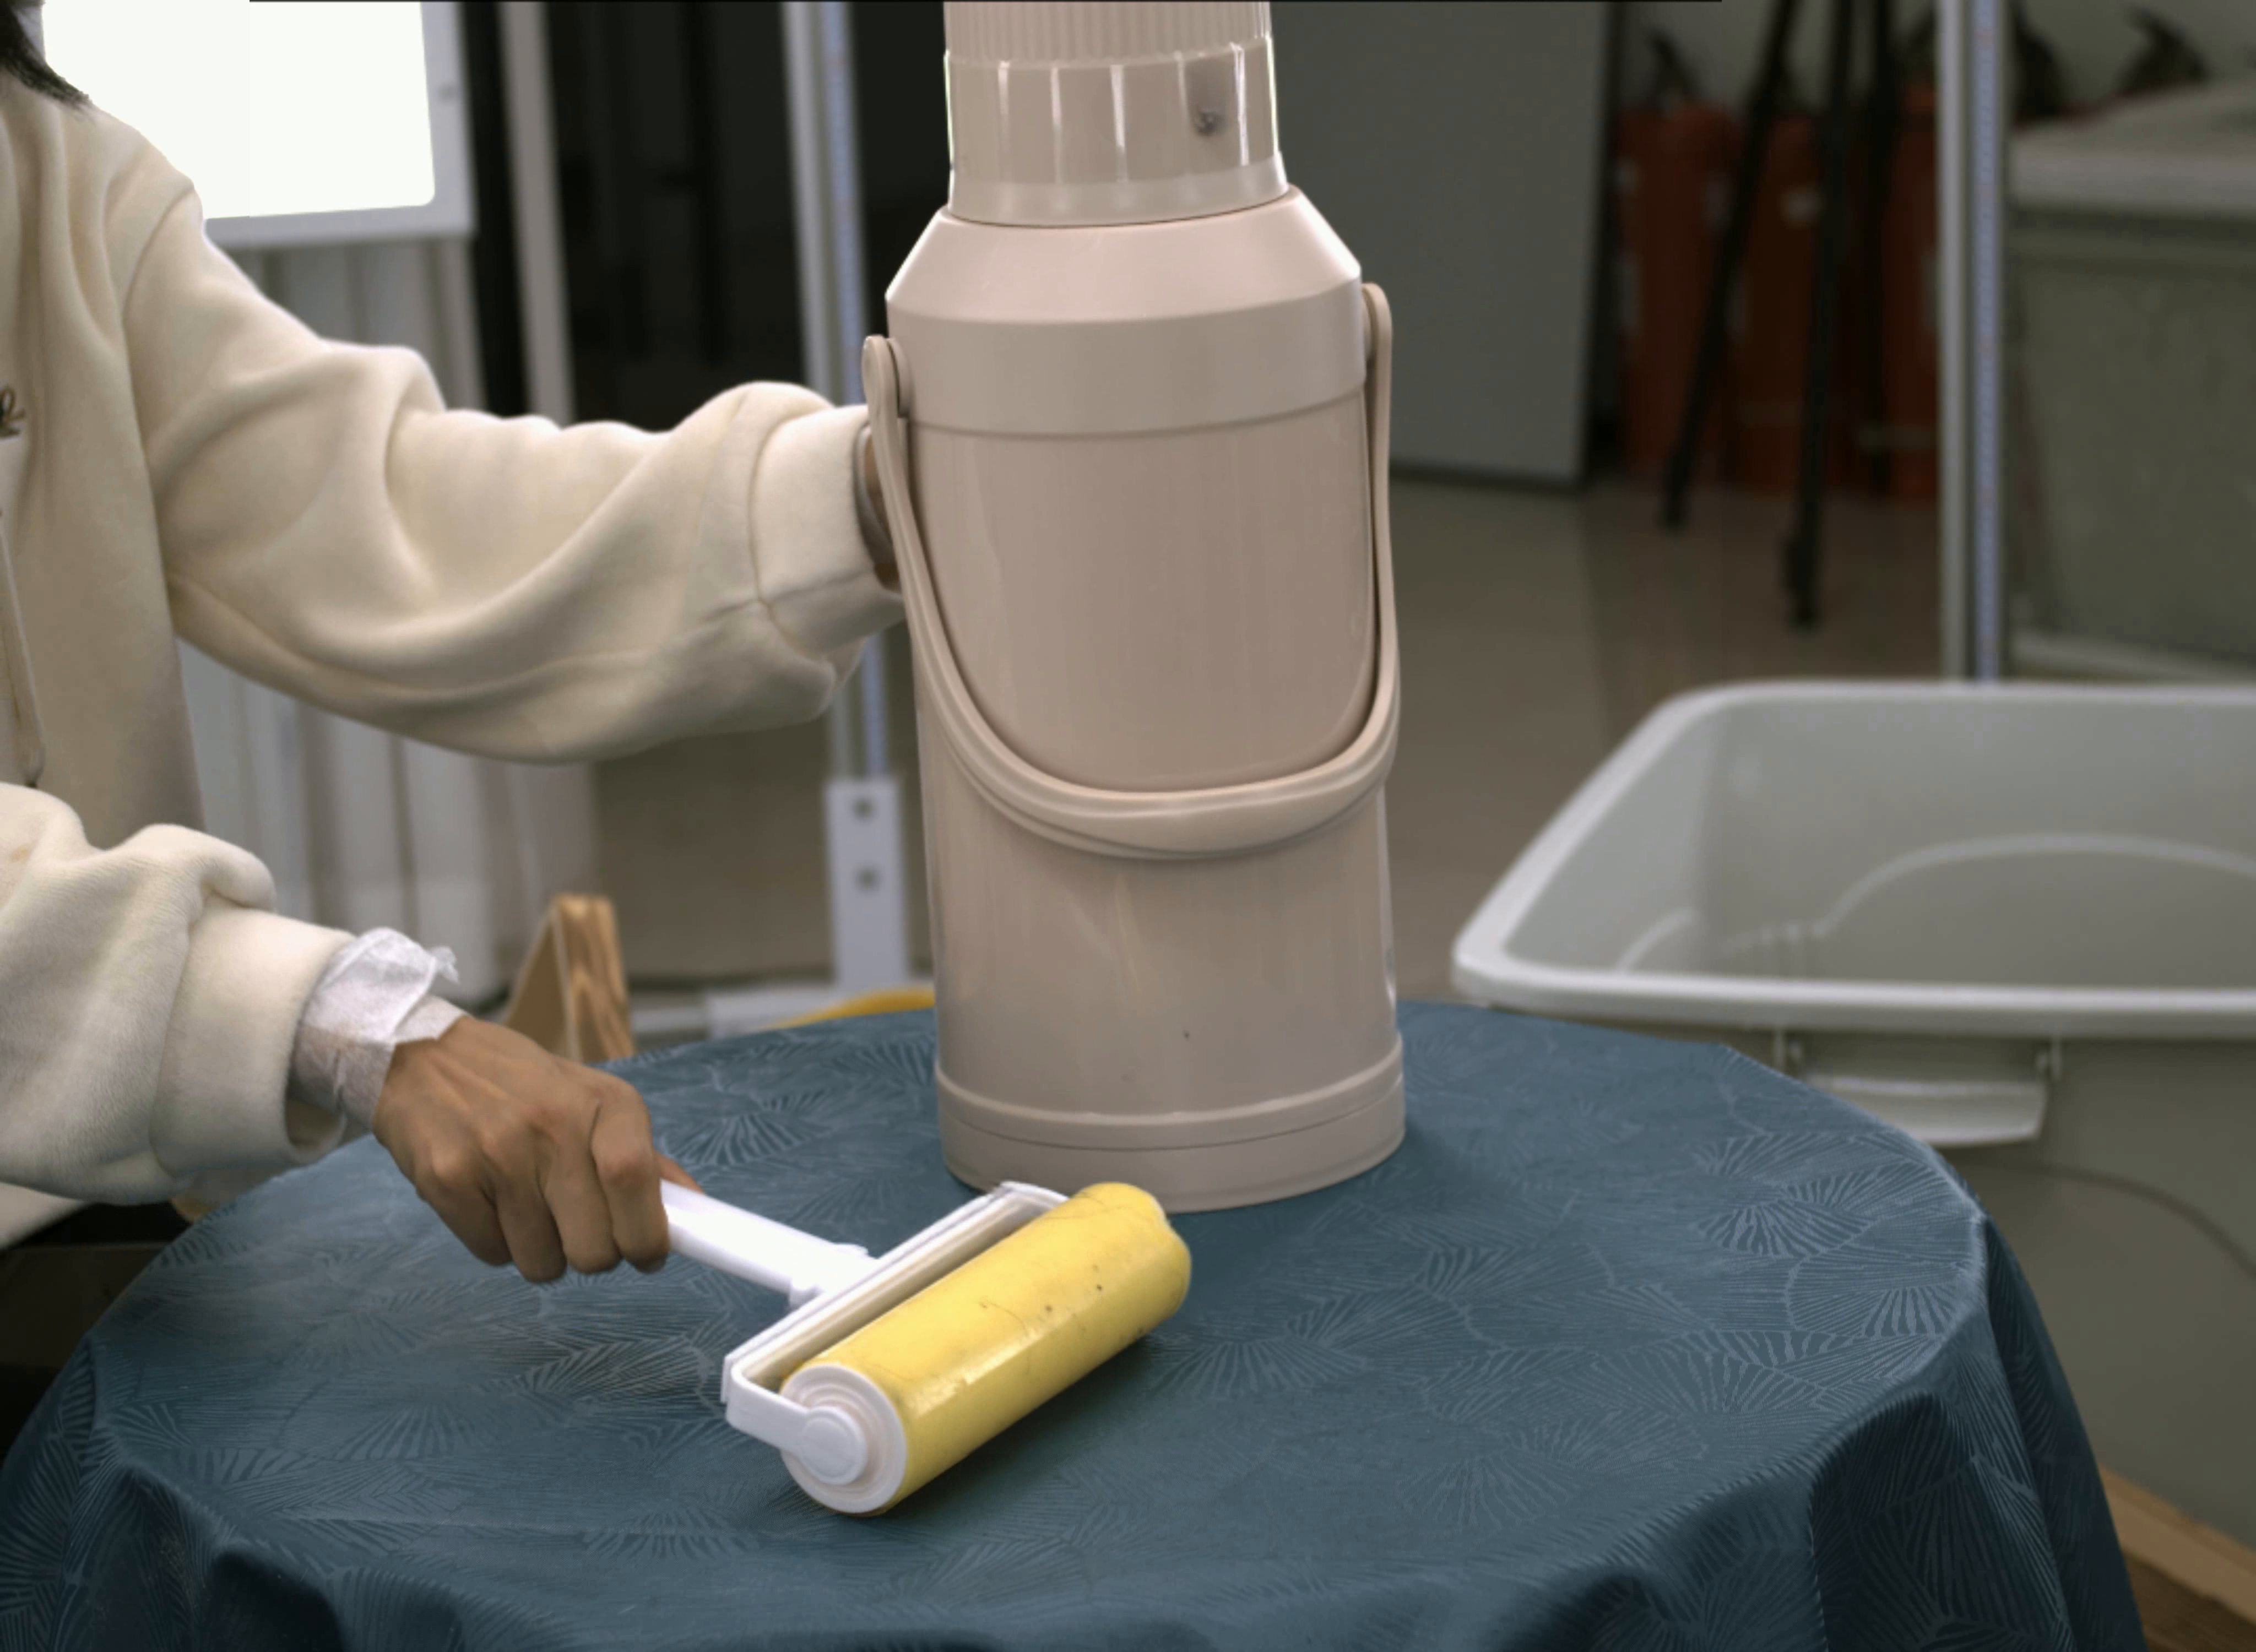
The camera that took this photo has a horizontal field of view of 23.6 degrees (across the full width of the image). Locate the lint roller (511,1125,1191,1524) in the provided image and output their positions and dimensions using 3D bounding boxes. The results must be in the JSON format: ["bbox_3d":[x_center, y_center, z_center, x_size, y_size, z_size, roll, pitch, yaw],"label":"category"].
[{"bbox_3d":[-0.098,0.121,1.587,0.193,0.052,0.172,29,28,21],"label":"lint roller"}]

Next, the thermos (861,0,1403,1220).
[{"bbox_3d":[0.001,-0.088,1.785,0.172,0.411,0.208,-8,13,-14],"label":"thermos"}]
